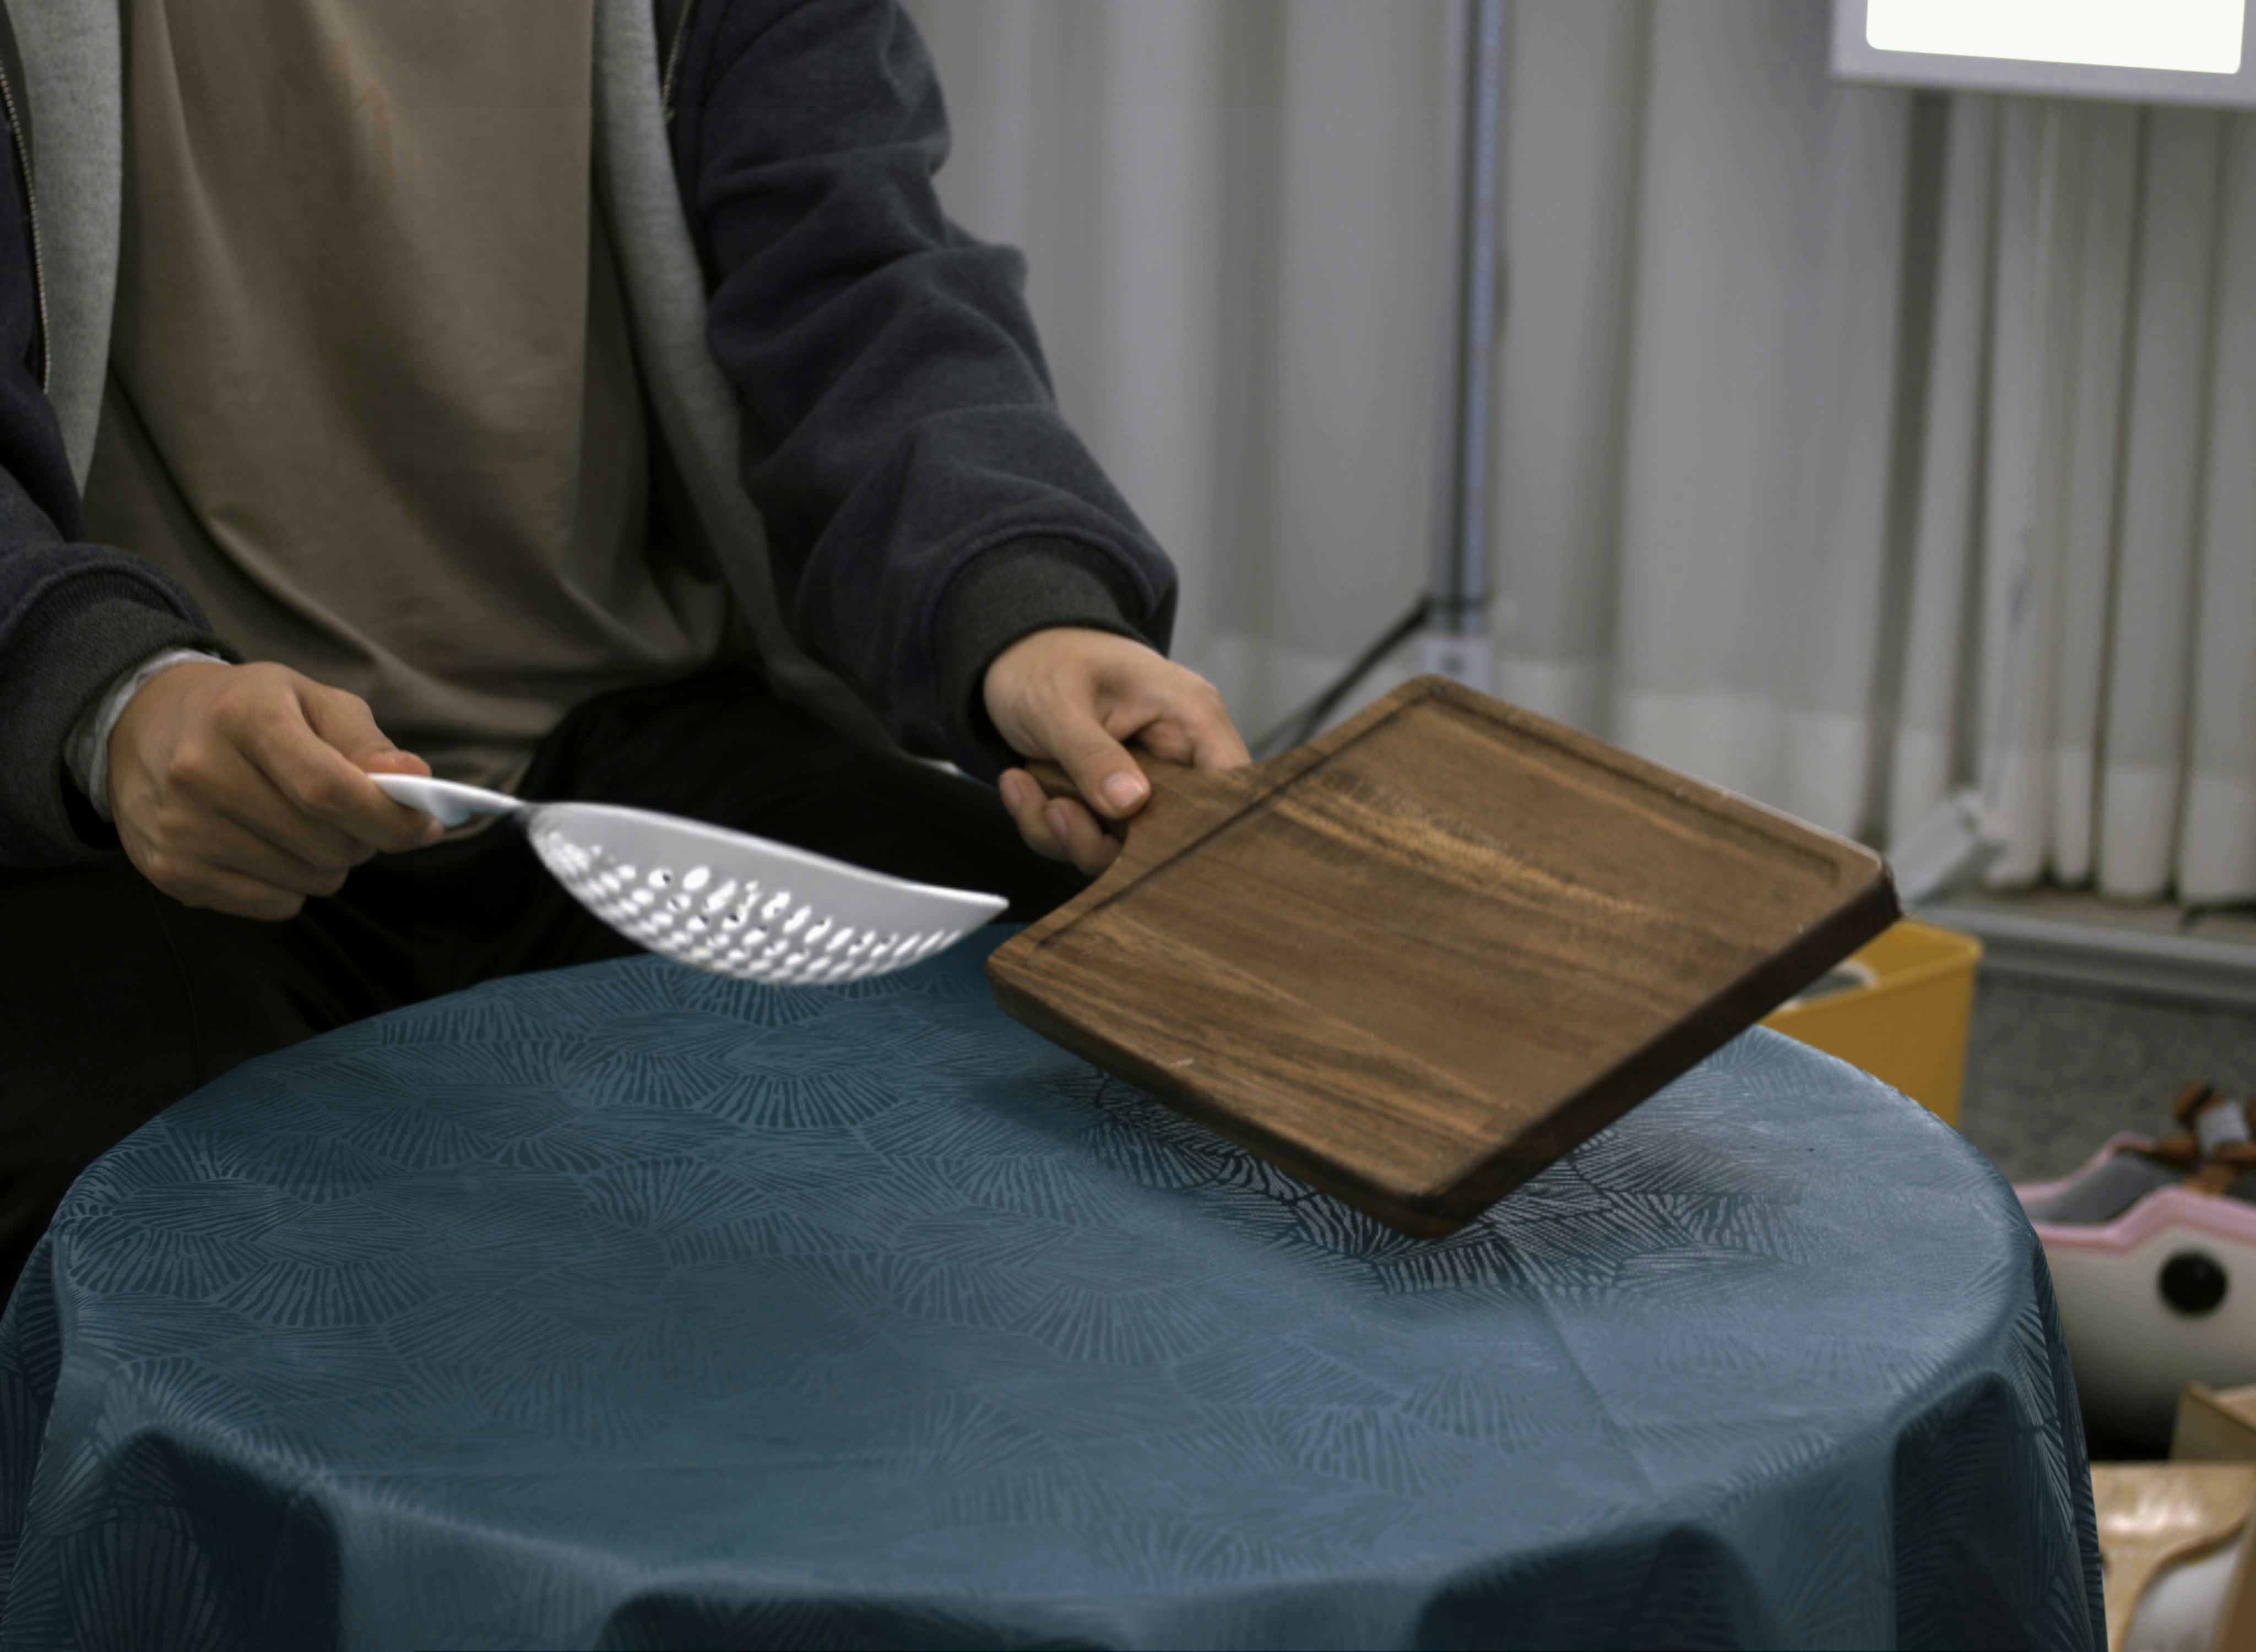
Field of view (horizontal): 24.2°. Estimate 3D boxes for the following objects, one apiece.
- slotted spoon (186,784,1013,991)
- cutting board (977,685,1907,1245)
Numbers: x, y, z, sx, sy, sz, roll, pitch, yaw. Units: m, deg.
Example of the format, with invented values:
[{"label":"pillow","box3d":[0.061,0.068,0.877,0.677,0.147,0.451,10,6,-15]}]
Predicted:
[{"label":"slotted spoon","box3d":[-0.175,0.008,1.560,0.138,0.050,0.343,11,2,-42]},{"label":"cutting board","box3d":[0.068,0.024,1.701,0.201,0.023,0.347,-31,31,-23]}]
